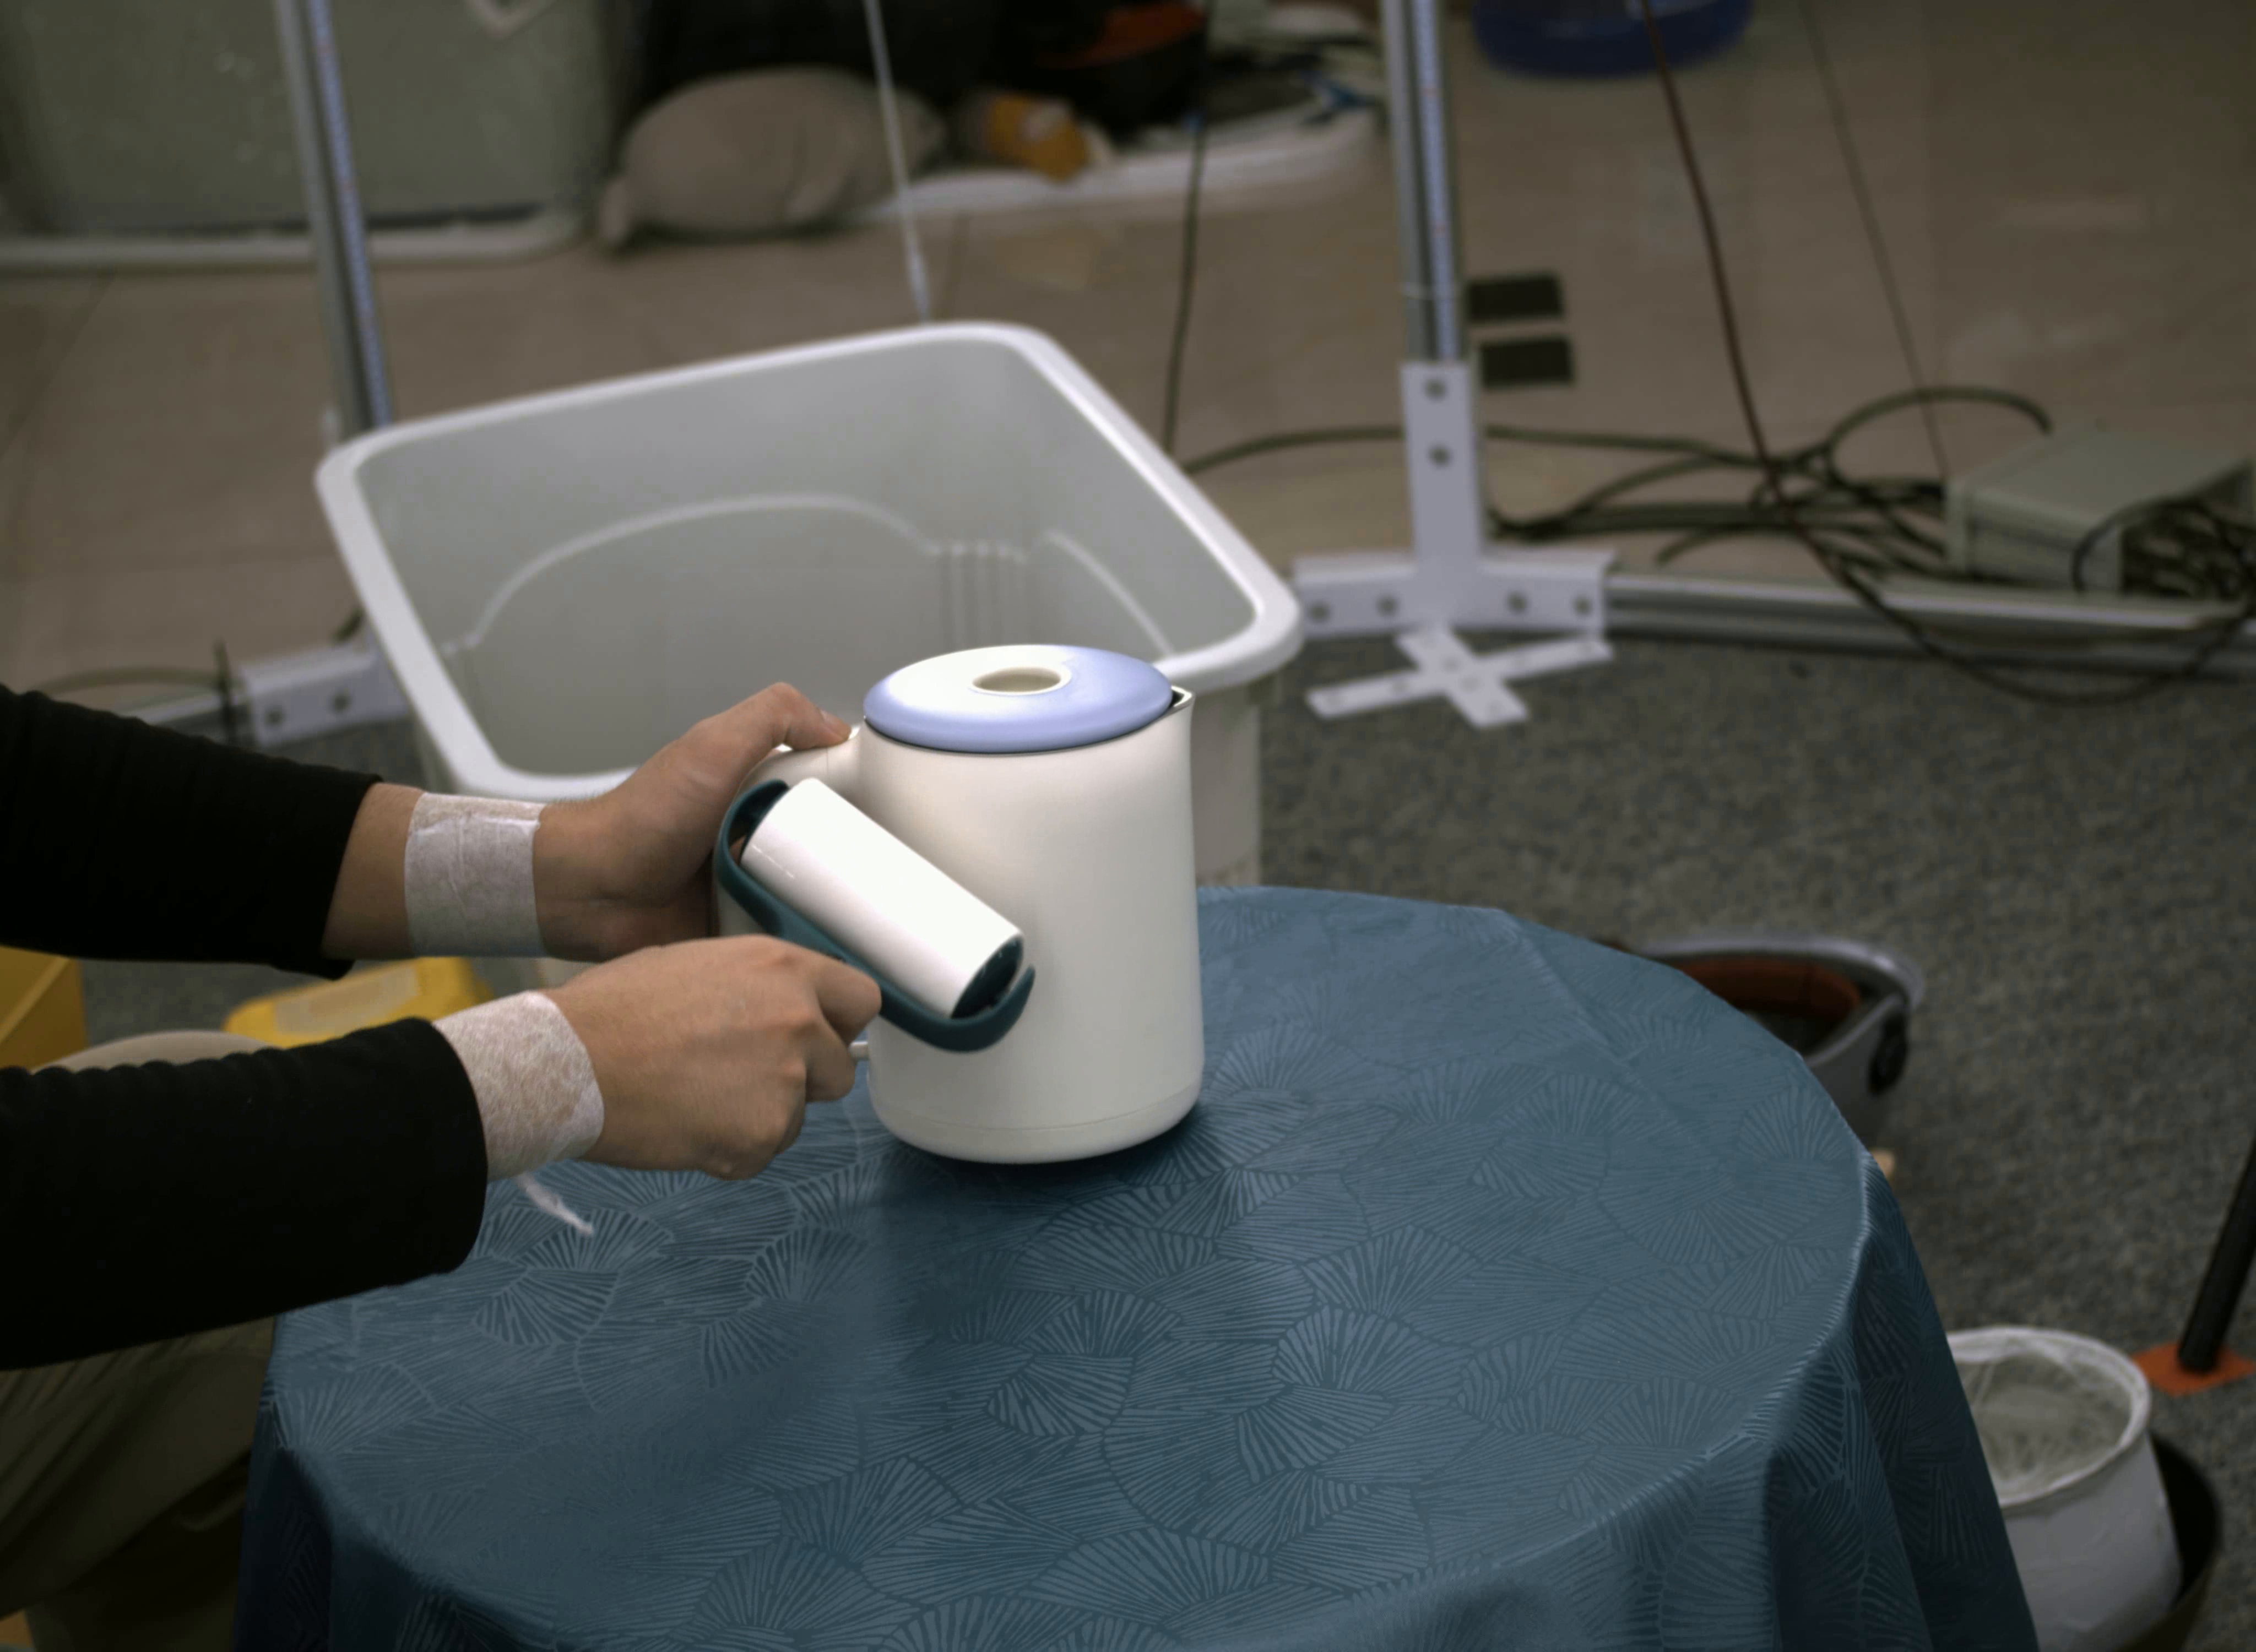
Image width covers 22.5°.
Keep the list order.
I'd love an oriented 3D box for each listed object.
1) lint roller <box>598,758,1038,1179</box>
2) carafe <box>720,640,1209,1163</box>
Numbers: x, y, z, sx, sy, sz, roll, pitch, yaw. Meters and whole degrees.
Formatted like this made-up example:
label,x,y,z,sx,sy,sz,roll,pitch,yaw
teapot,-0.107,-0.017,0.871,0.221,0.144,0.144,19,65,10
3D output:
label,x,y,z,sx,sy,sz,roll,pitch,yaw
lint roller,-0.128,0.062,2.035,0.133,0.049,0.178,35,47,13
carafe,-0.062,0.031,2.171,0.191,0.185,0.130,-6,19,-4
